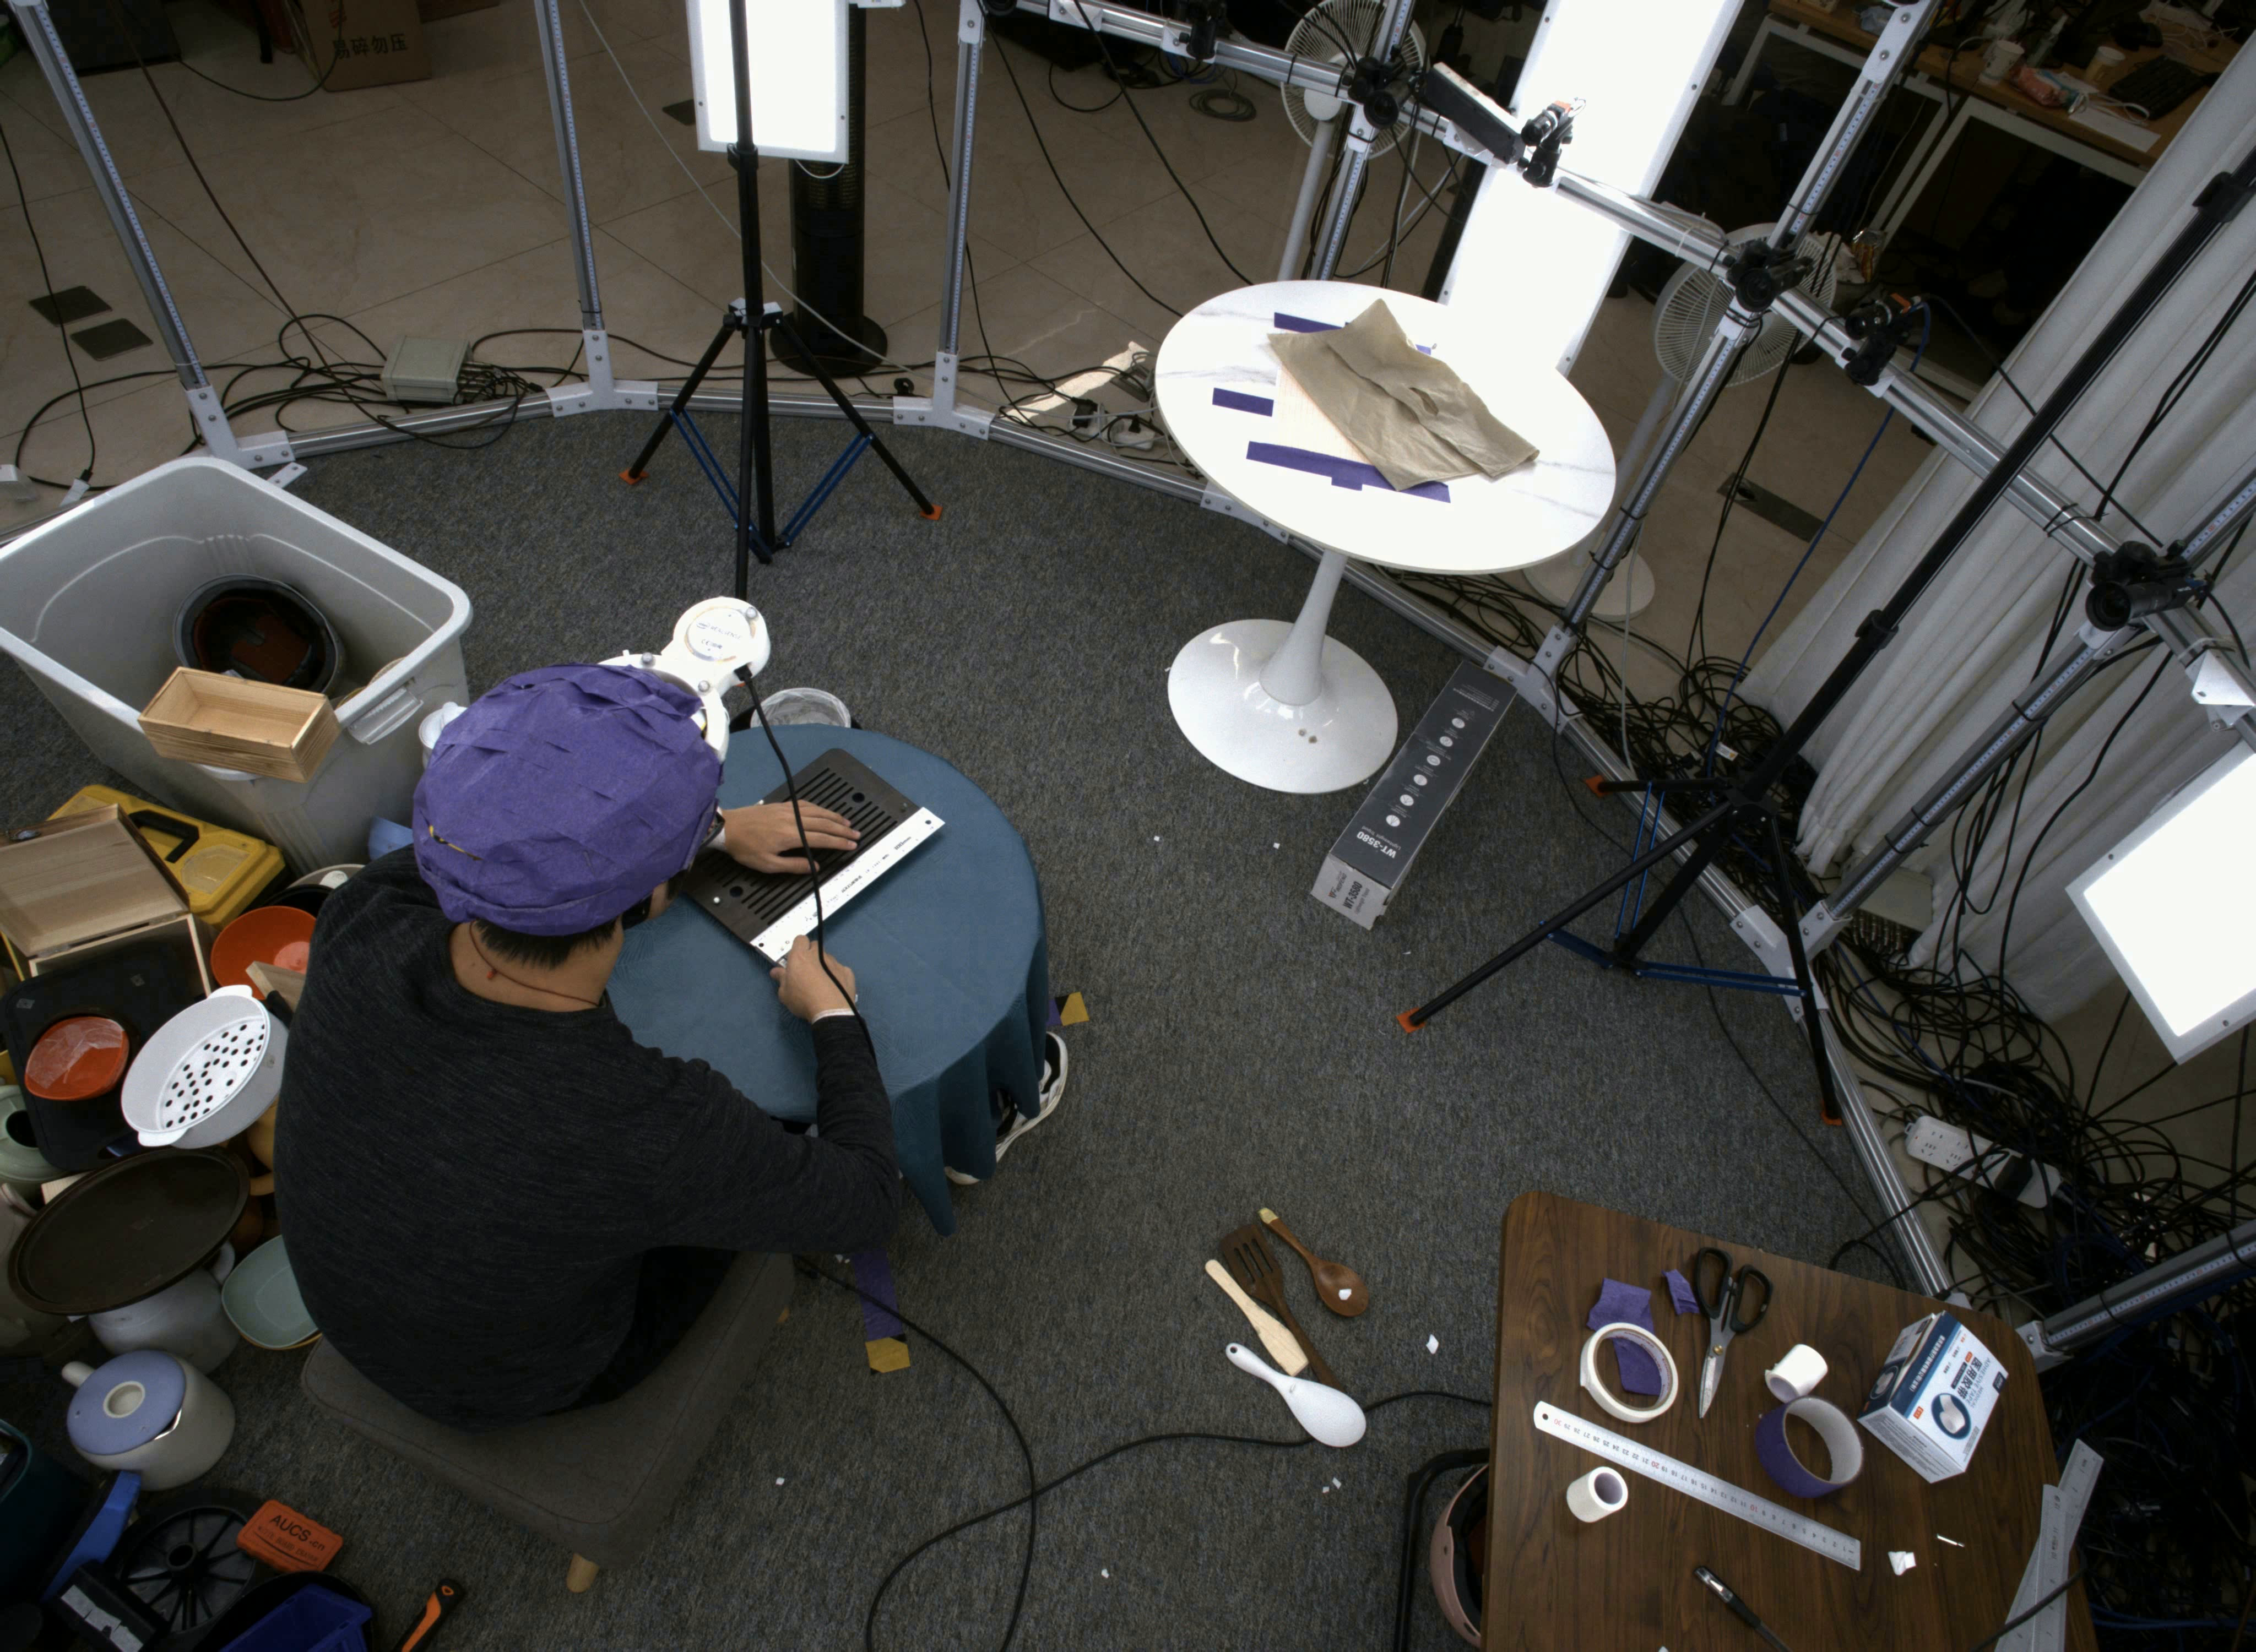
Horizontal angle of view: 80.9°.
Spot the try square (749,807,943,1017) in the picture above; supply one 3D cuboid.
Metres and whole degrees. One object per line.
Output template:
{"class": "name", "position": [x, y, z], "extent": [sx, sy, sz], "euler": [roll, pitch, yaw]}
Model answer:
{"class": "try square", "position": [-0.312, 0.098, 1.643], "extent": [0.148, 0.016, 0.313], "euler": [34, 52, 17]}

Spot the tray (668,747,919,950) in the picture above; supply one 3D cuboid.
{"class": "tray", "position": [-0.431, 0.023, 1.689], "extent": [0.167, 0.019, 0.306], "euler": [37, 54, 13]}
